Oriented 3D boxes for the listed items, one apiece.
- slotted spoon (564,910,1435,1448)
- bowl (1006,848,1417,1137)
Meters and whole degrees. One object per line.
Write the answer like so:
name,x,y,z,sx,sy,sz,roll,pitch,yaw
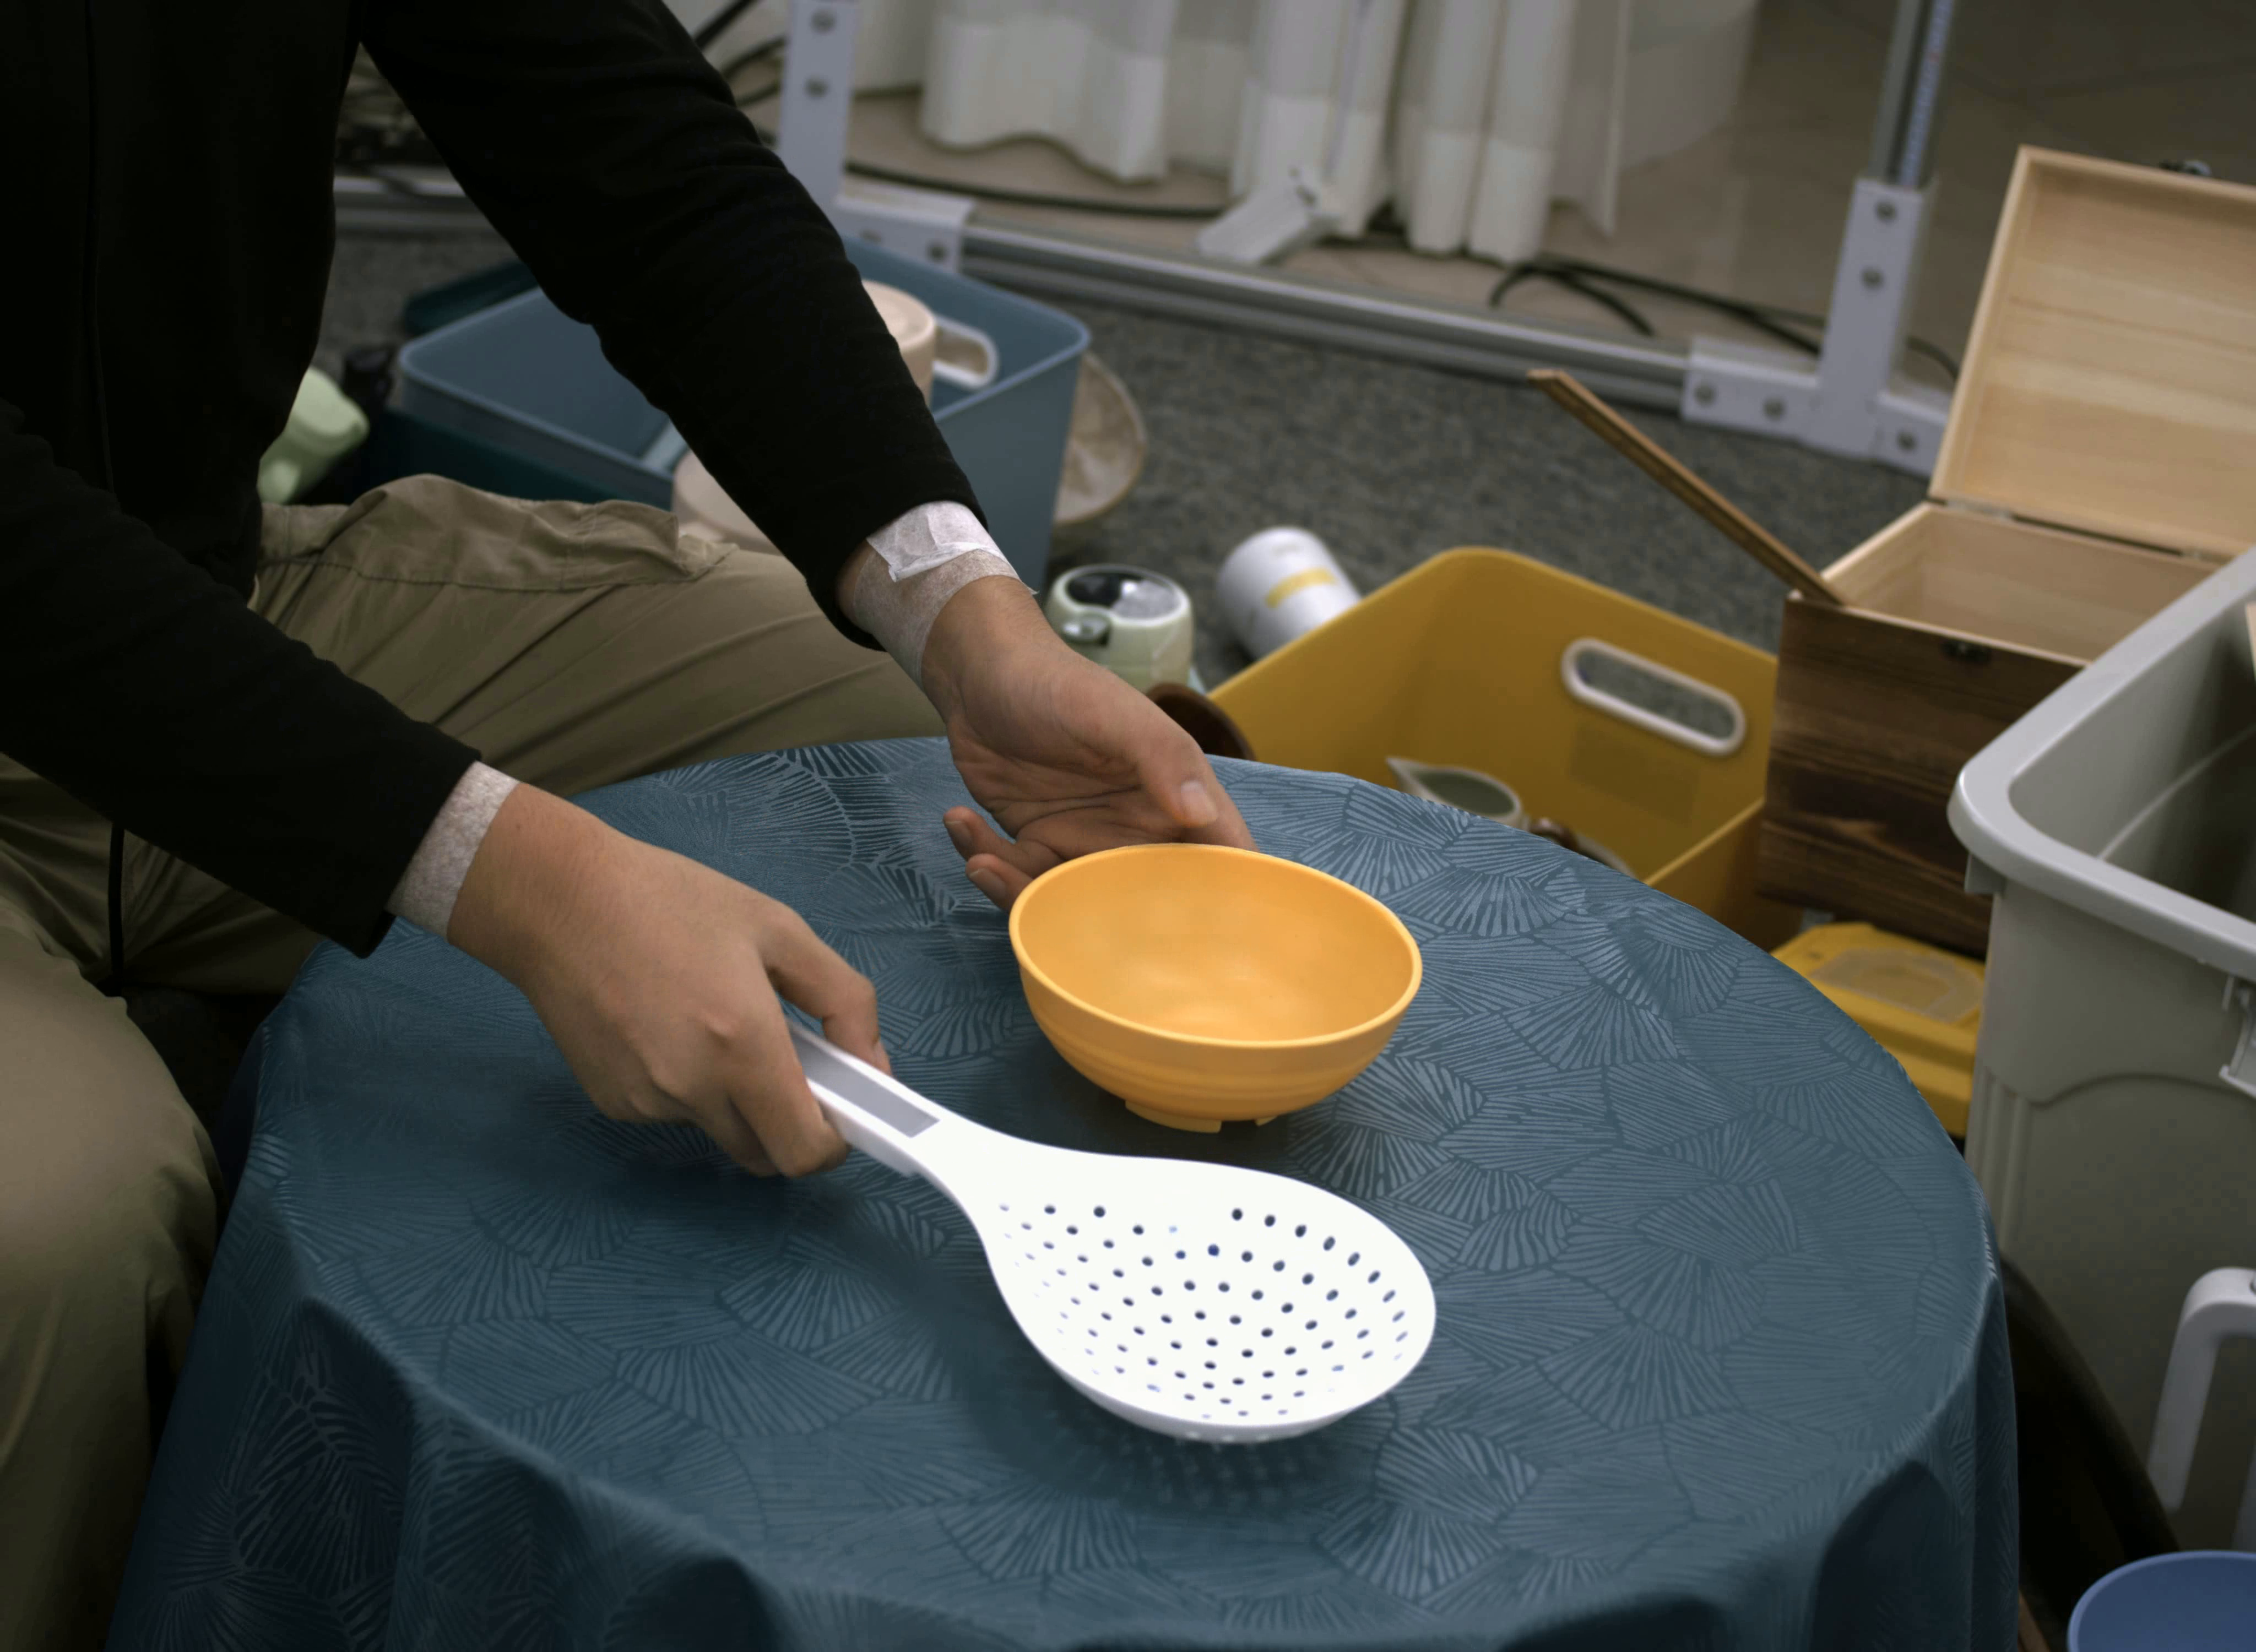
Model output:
slotted spoon,-0.054,0.109,1.733,0.352,0.045,0.135,32,41,28
bowl,0.025,0.067,1.858,0.145,0.060,0.146,7,26,-4
